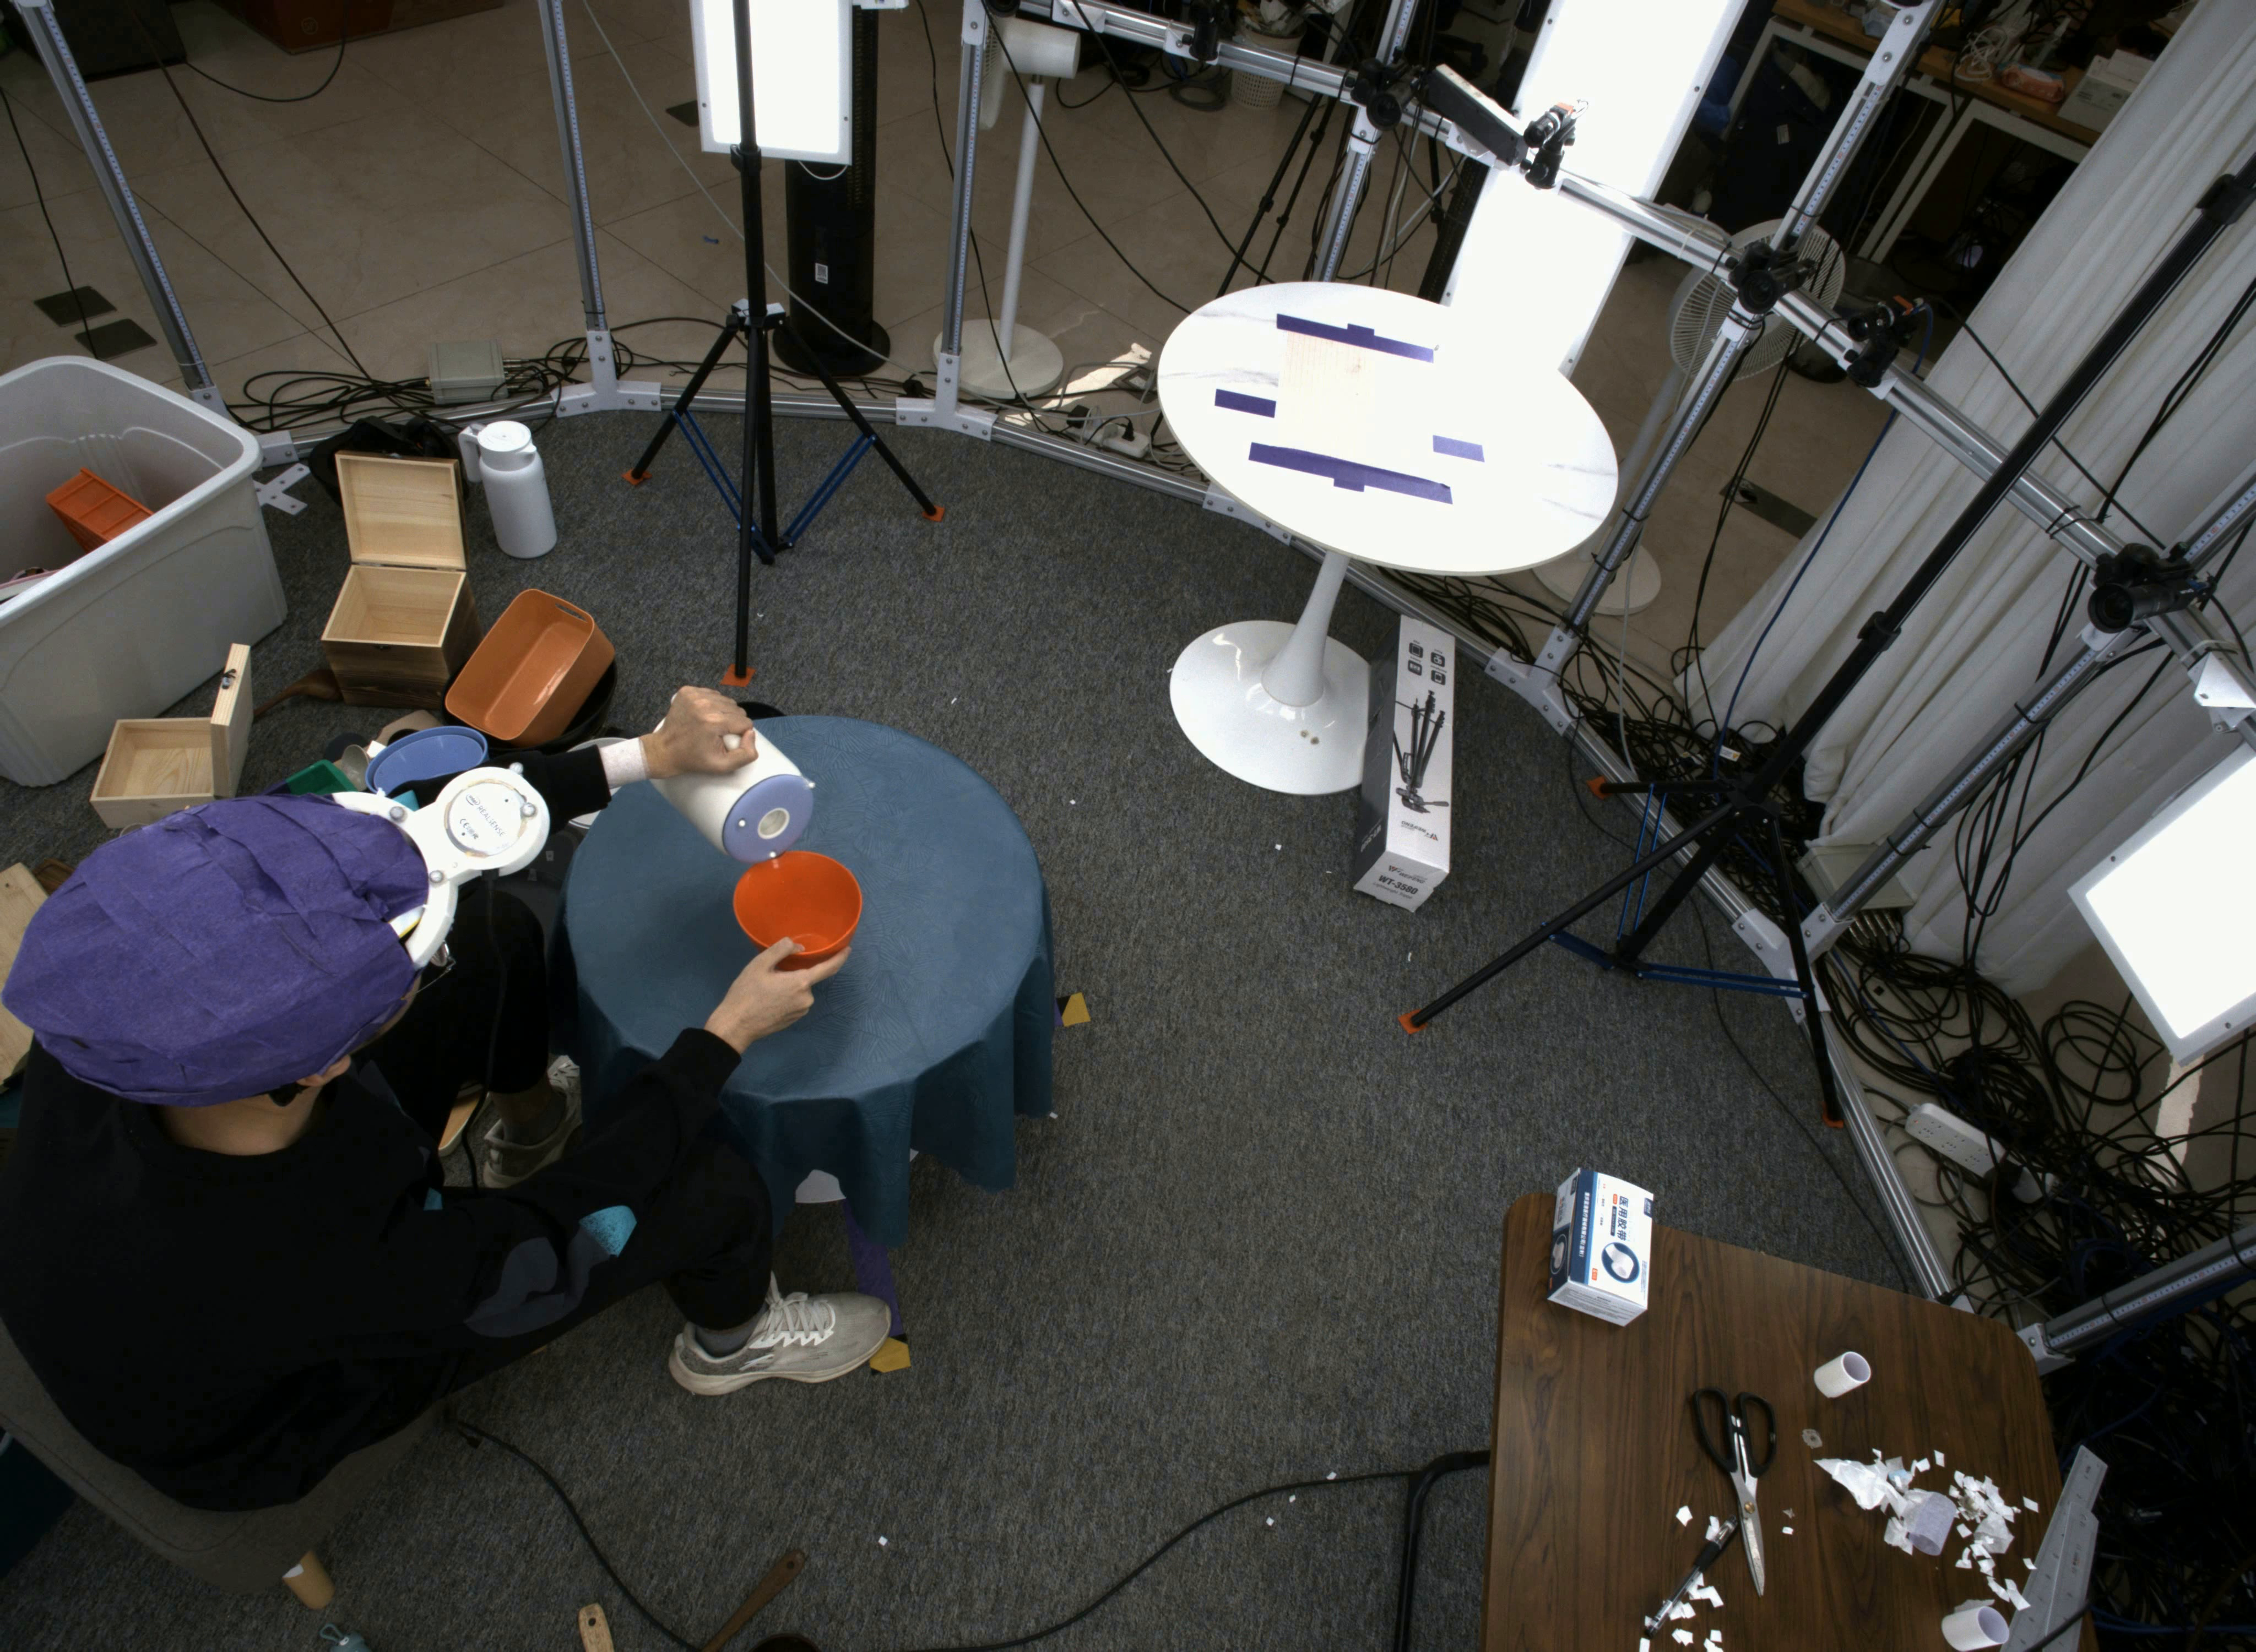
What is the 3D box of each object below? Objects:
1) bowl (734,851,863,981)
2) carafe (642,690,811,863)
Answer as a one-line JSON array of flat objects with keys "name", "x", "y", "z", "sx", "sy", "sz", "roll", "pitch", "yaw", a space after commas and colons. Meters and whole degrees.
[{"name": "bowl", "x": -0.388, "y": 0.116, "z": 1.545, "sx": 0.147, "sy": 0.107, "sz": 0.145, "roll": 5, "pitch": 43, "yaw": -3}, {"name": "carafe", "x": -0.466, "y": -0.071, "z": 1.473, "sx": 0.176, "sy": 0.197, "sz": 0.132, "roll": 35, "pitch": 60, "yaw": 28}]
